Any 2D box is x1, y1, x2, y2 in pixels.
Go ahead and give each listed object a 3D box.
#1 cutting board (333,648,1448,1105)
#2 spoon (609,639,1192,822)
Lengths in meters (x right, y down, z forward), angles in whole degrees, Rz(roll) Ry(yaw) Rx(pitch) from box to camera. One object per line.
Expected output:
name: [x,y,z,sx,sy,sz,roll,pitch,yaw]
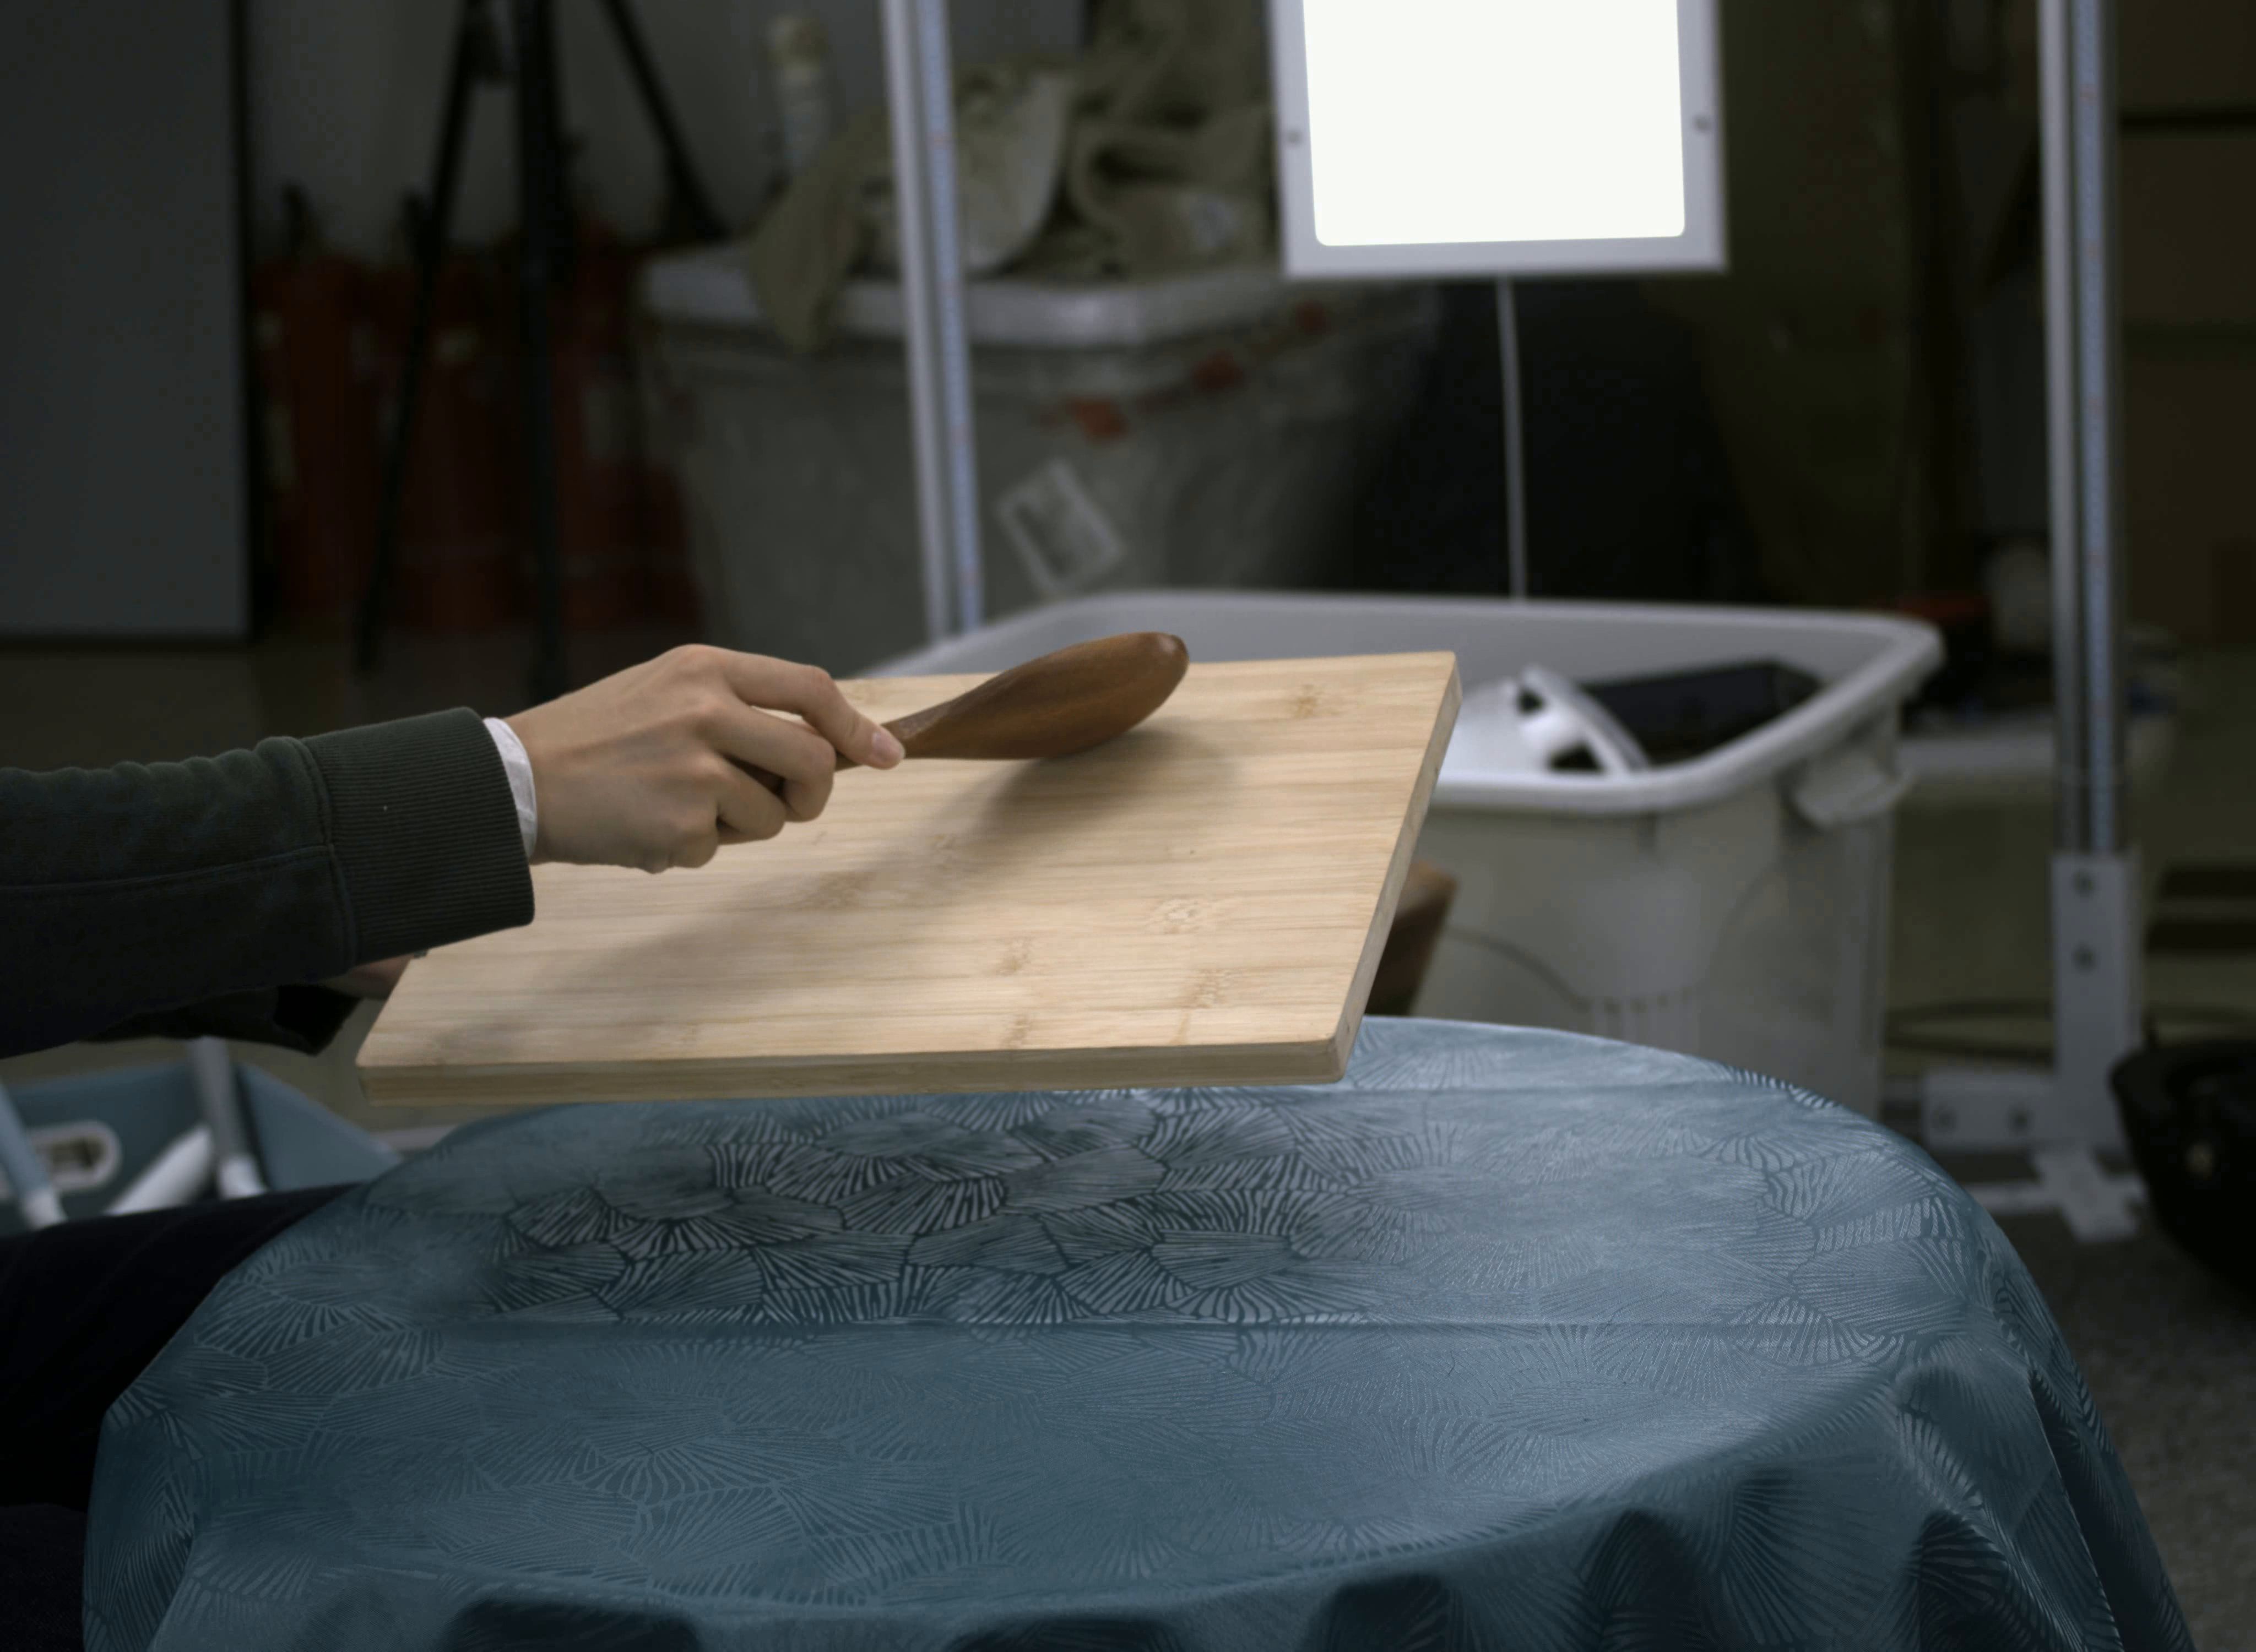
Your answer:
cutting board: [-0.076,0.016,1.895,0.352,0.023,0.247,-3,32,17]
spoon: [-0.075,-0.029,1.870,0.212,0.017,0.076,-12,-19,-21]
